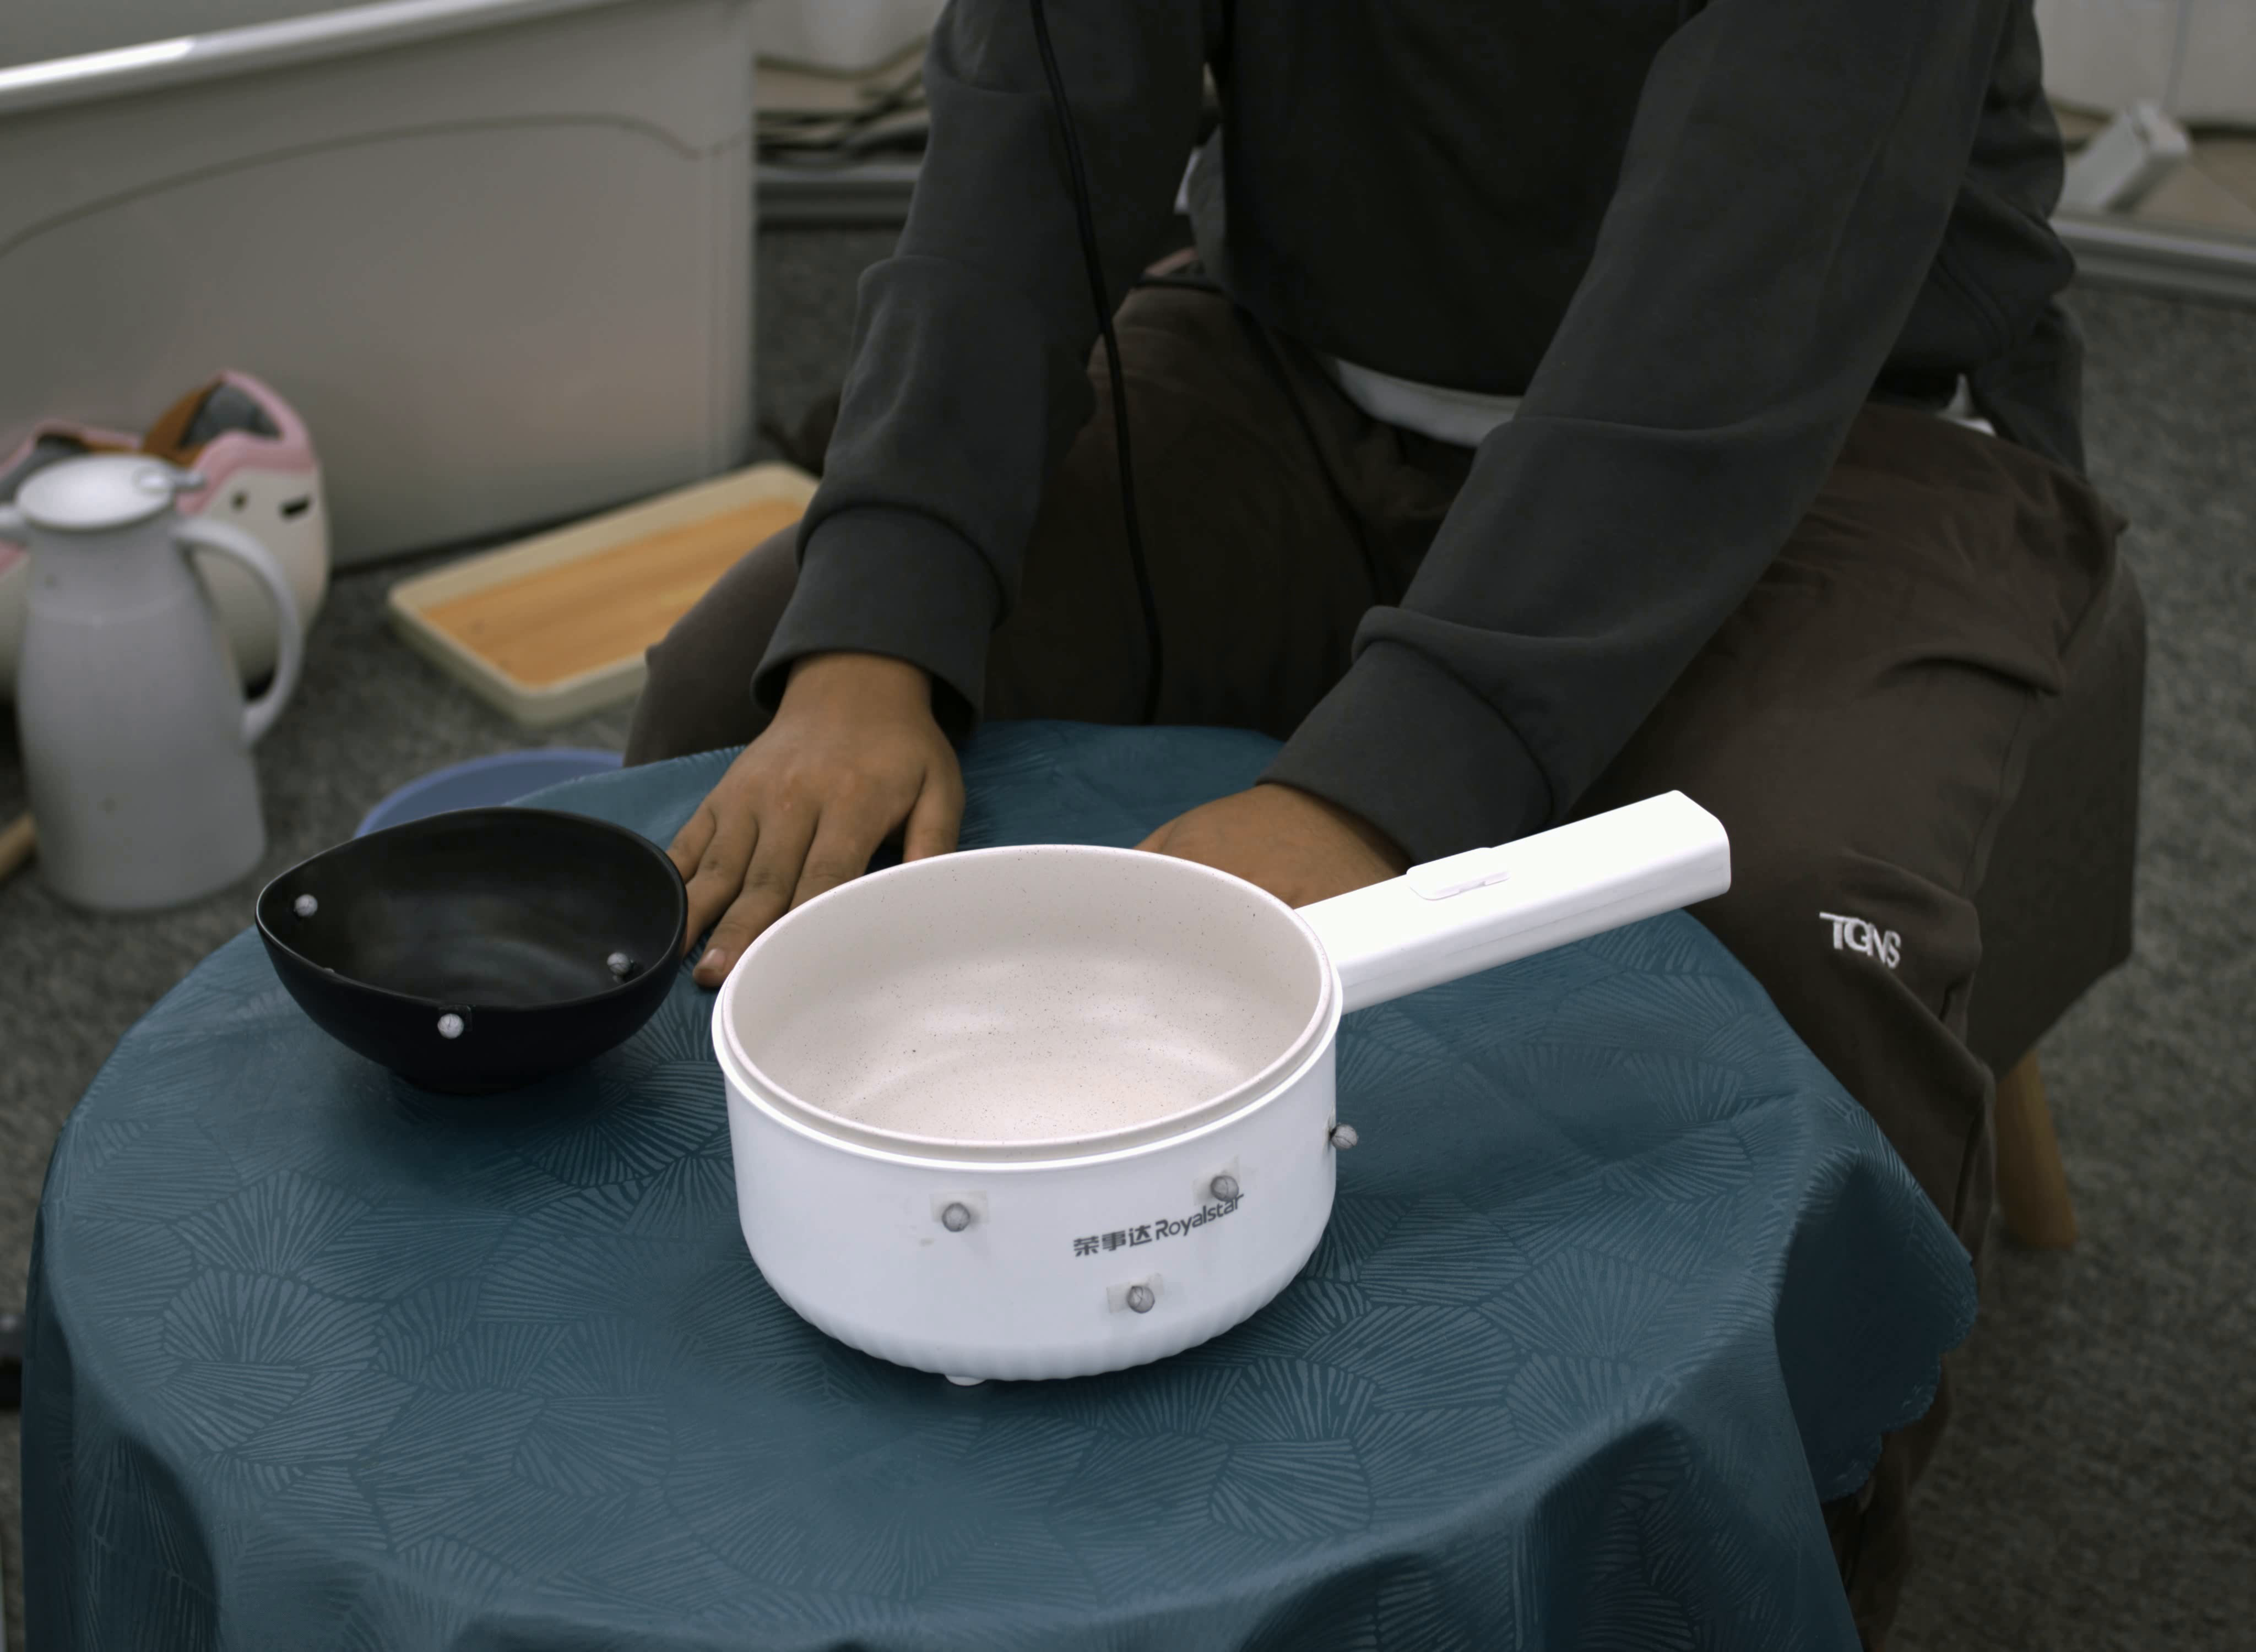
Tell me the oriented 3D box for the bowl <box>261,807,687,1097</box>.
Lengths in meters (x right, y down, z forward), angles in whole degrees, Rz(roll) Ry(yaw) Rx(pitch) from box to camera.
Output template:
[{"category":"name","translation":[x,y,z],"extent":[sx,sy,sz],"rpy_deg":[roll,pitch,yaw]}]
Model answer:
[{"category":"bowl","translation":[-0.226,0.052,1.950],"extent":[0.170,0.066,0.139],"rpy_deg":[20,35,40]}]

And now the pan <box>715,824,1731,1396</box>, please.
[{"category":"pan","translation":[0.038,0.085,1.843],"extent":[0.356,0.101,0.202],"rpy_deg":[-14,25,-25]}]
